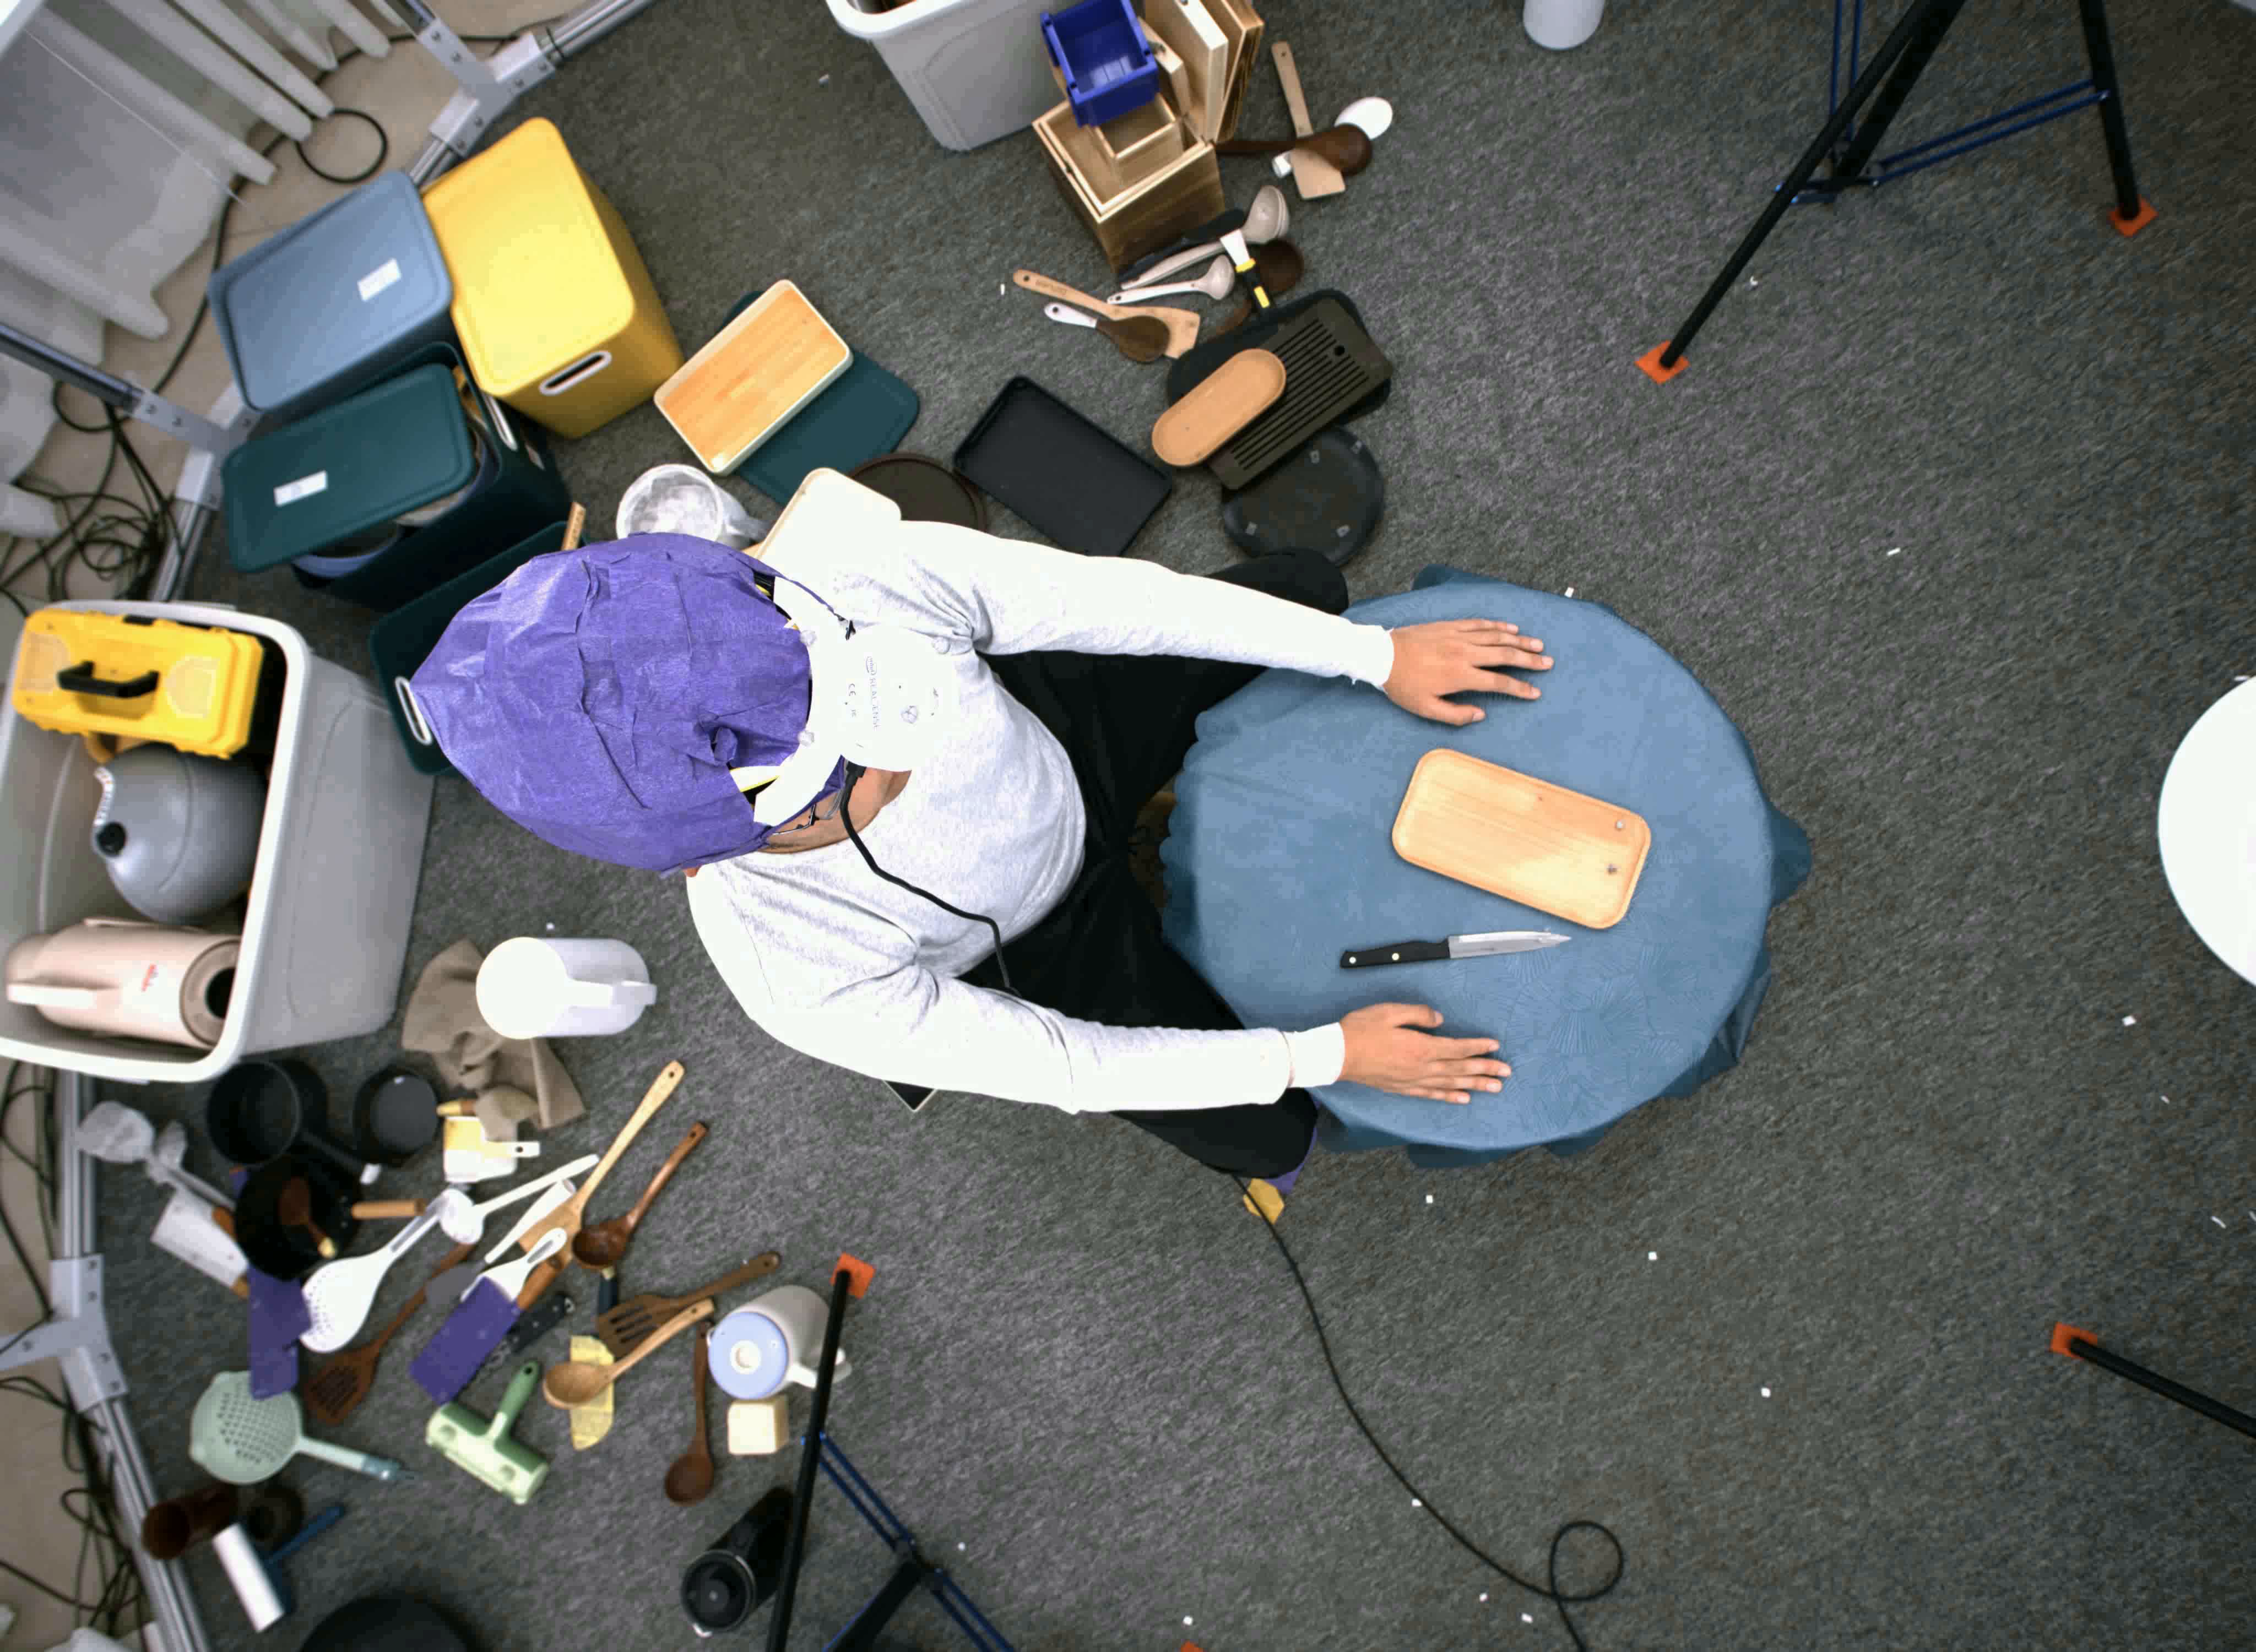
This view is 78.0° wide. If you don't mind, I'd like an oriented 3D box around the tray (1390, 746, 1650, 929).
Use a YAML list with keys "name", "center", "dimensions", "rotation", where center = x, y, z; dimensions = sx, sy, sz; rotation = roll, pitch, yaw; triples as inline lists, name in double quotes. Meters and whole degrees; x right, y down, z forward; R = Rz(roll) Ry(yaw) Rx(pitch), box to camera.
- name: "tray"
  center: [0.406, 0.009, 1.430]
  dimensions: [0.250, 0.023, 0.130]
  rotation: [21, 88, 12]

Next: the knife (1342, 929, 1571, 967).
- name: "knife"
  center: [0.343, 0.125, 1.438]
  dimensions: [0.239, 0.016, 0.024]
  rotation: [-7, 85, 8]
